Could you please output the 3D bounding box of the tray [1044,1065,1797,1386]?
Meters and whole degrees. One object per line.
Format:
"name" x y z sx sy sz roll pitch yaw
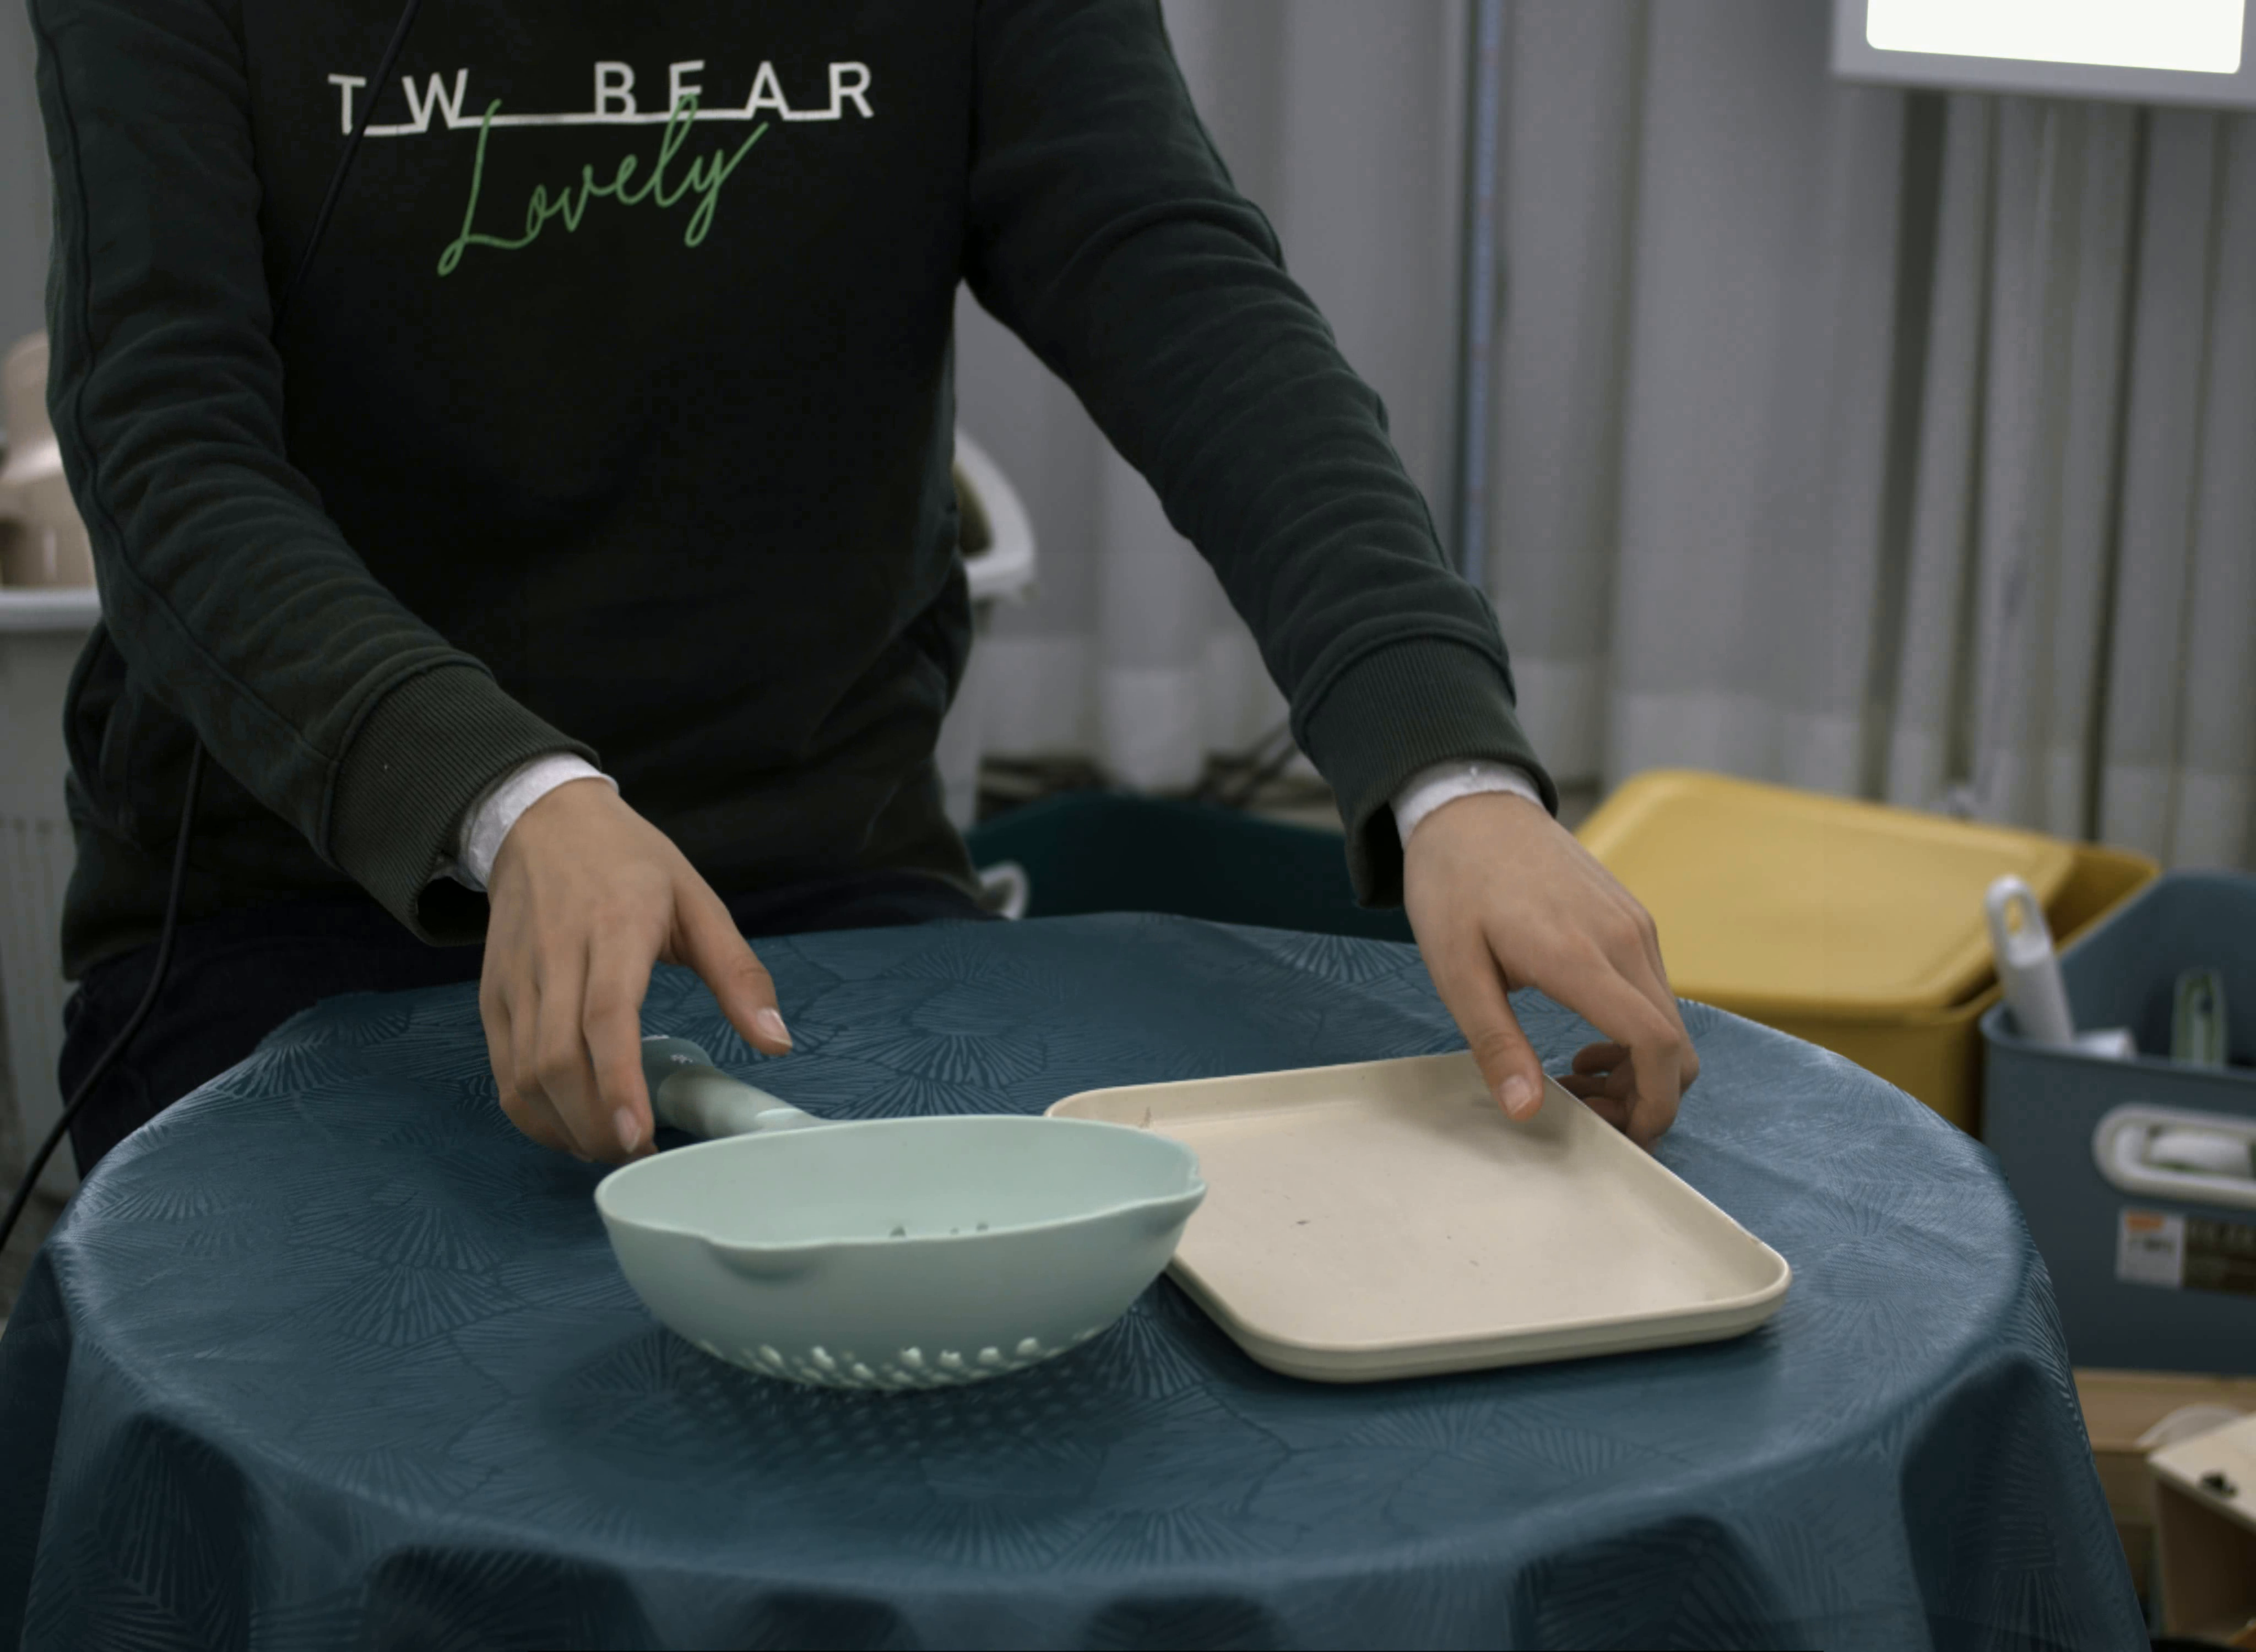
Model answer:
"tray" 0.082 0.118 1.581 0.172 0.017 0.237 -5 16 -19

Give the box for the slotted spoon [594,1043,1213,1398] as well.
"slotted spoon" -0.098 0.100 1.553 0.170 0.076 0.355 -5 16 -21
